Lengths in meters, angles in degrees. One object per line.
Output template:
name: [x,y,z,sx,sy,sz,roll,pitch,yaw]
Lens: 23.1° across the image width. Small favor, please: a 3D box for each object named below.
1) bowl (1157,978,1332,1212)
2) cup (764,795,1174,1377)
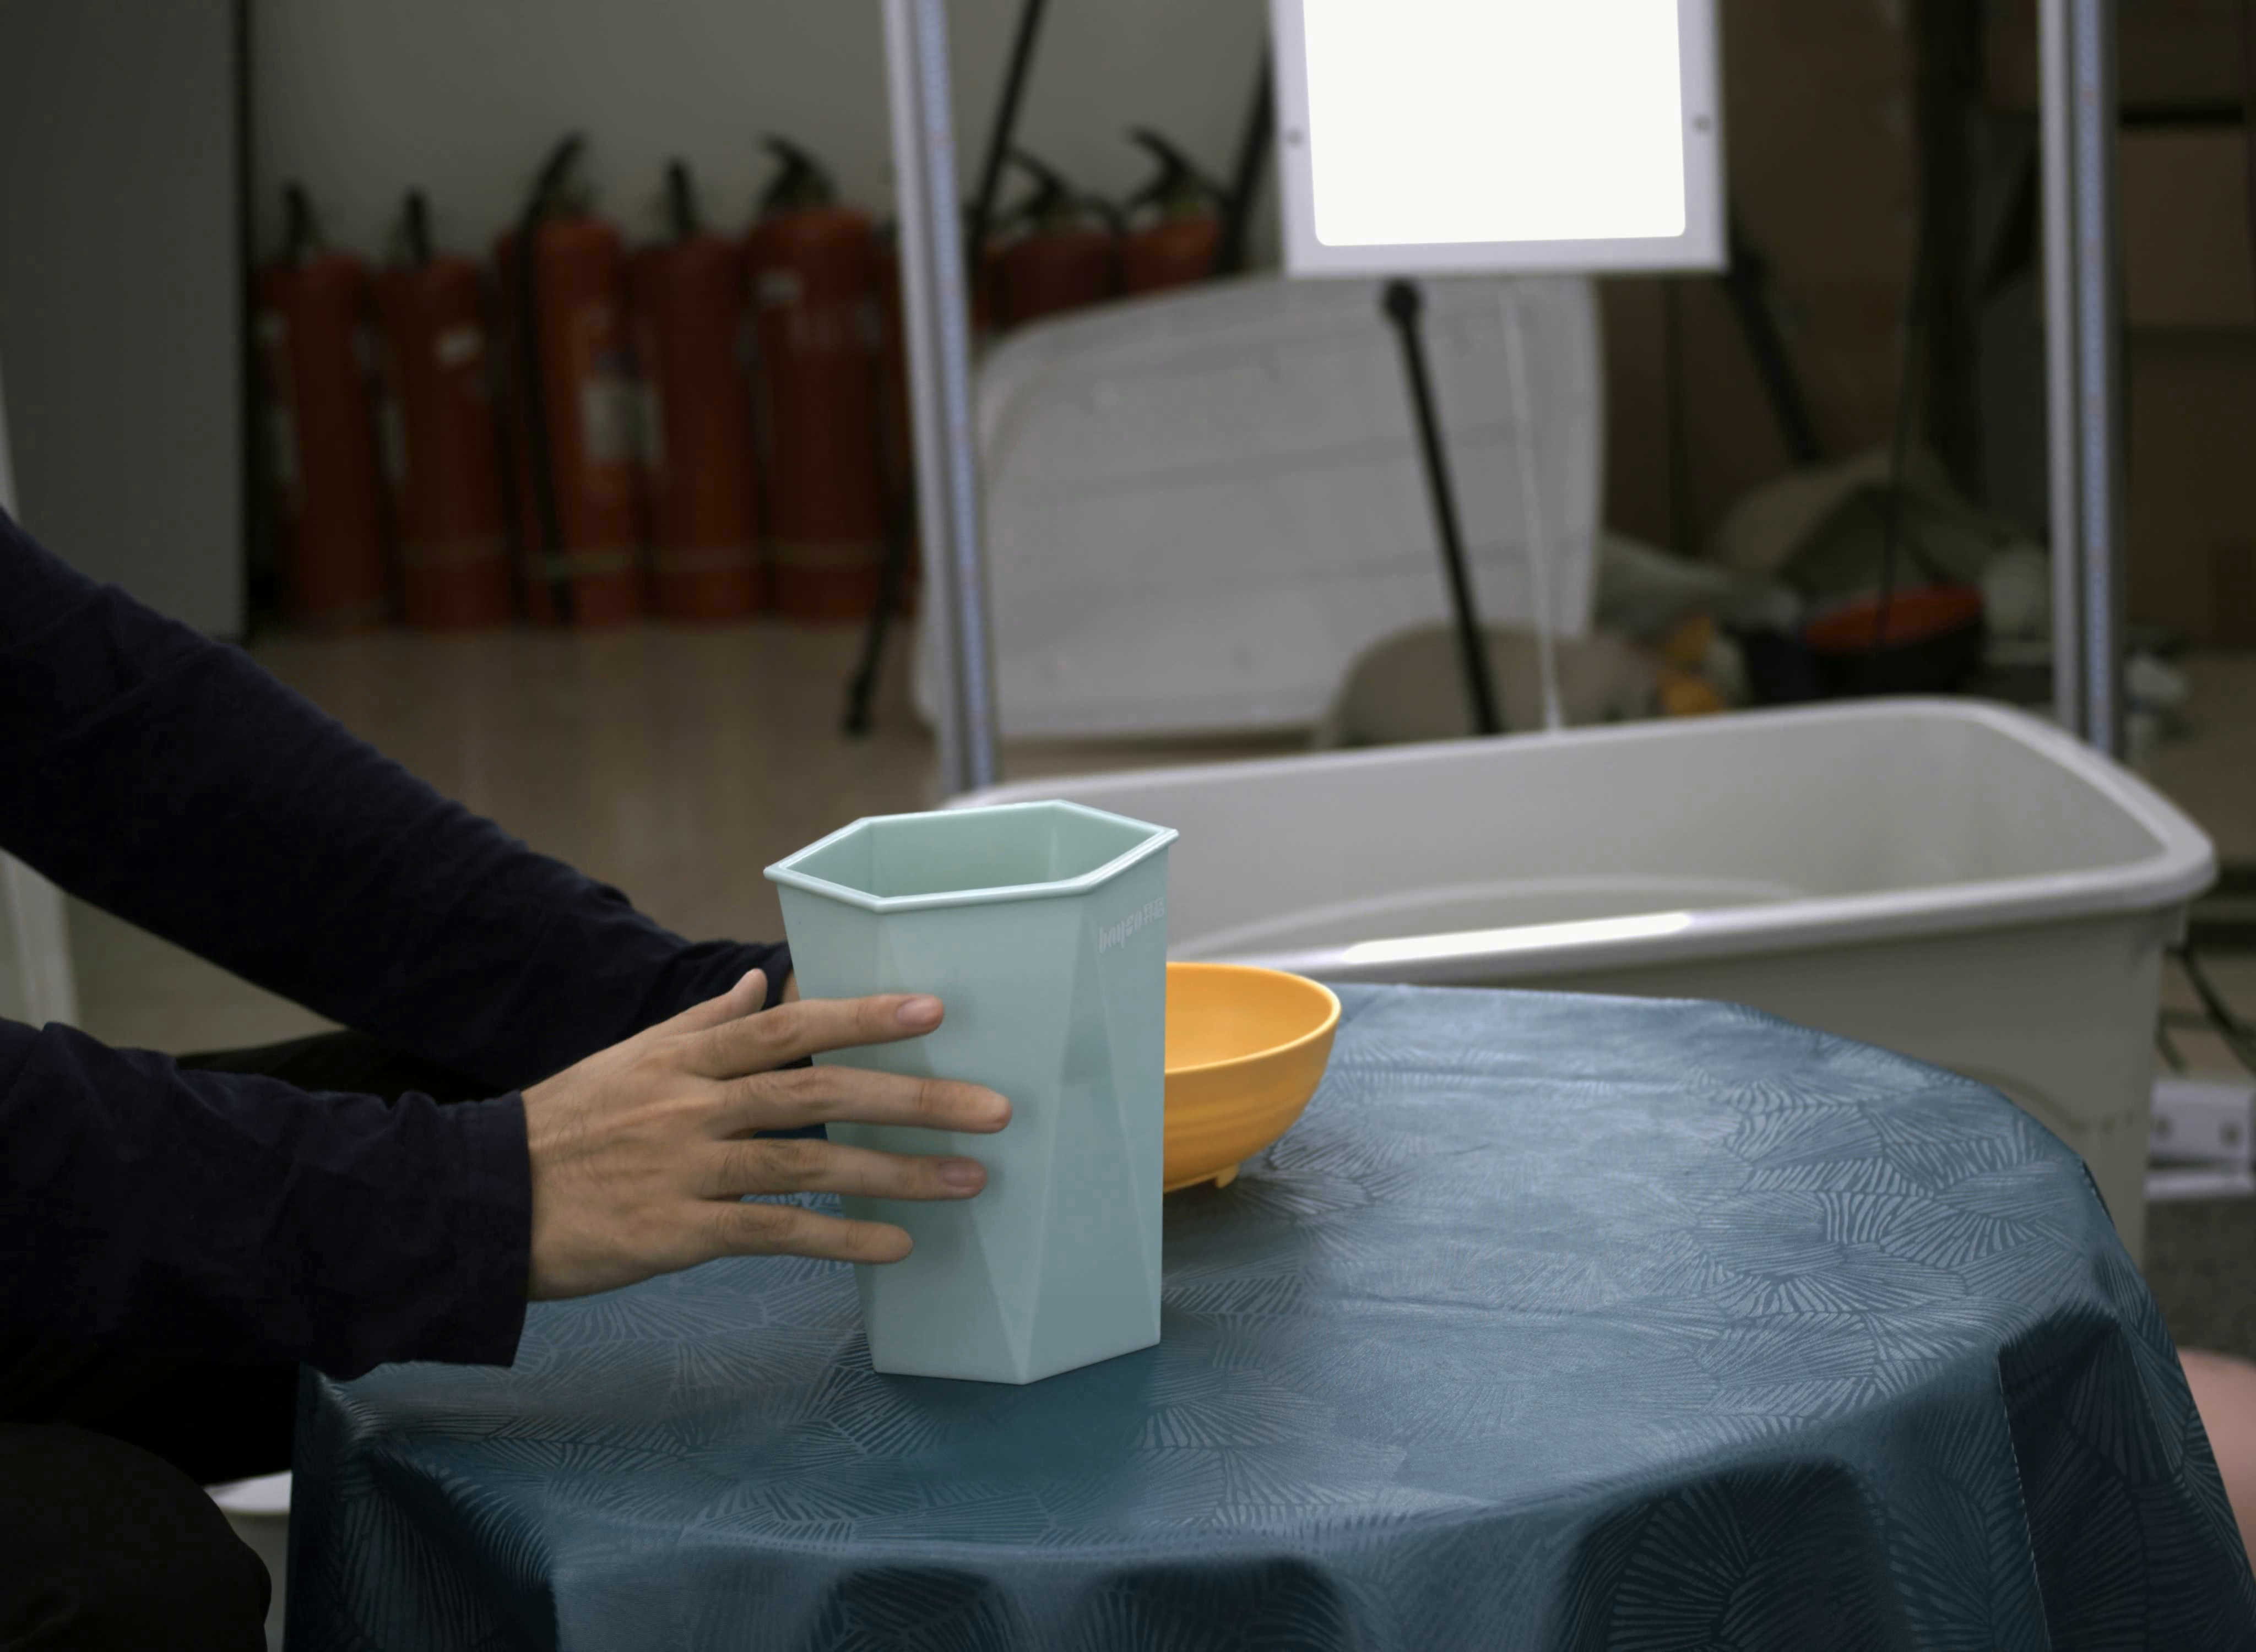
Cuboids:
bowl: [0.002,0.098,1.908,0.145,0.060,0.145,-7,12,0]
cup: [-0.043,0.082,1.747,0.117,0.163,0.128,1,14,25]
